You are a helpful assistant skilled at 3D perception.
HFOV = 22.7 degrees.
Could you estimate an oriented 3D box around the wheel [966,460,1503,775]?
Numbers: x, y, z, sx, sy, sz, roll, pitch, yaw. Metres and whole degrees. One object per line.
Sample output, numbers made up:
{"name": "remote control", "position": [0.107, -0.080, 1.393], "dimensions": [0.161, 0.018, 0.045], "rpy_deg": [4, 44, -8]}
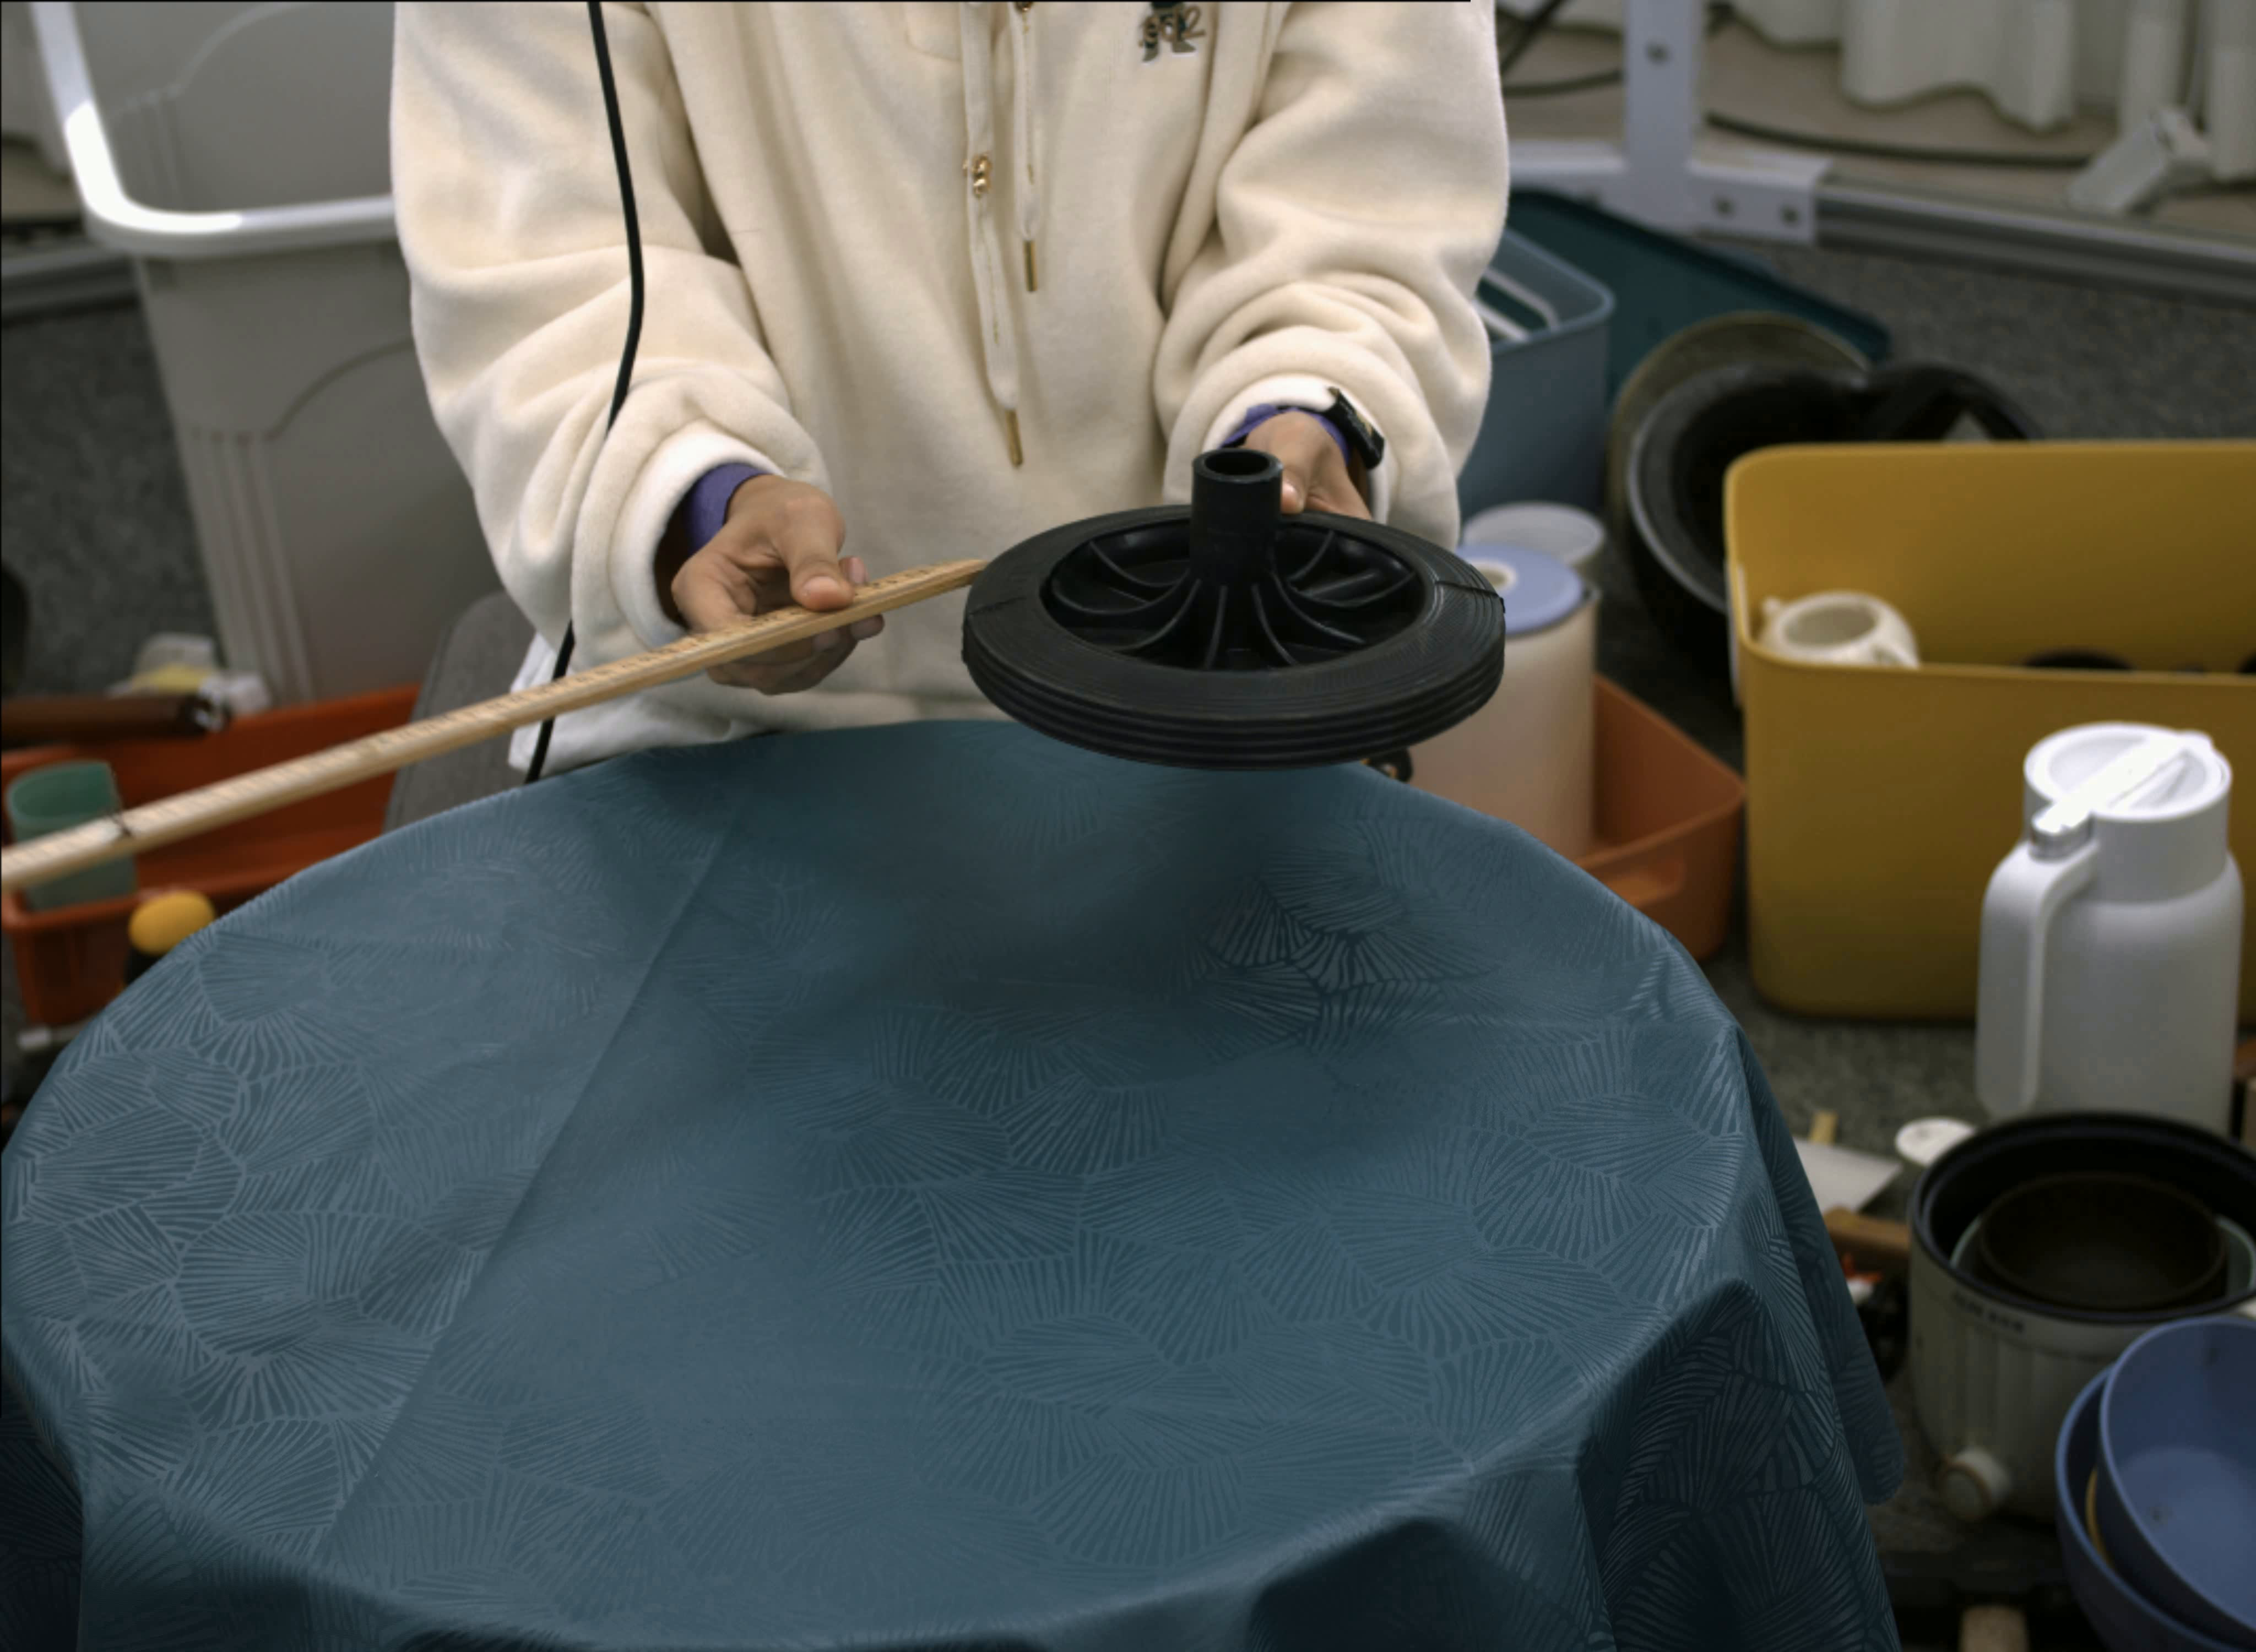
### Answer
{"name": "wheel", "position": [0.038, -0.084, 1.940], "dimensions": [0.186, 0.078, 0.192], "rpy_deg": [14, 27, 26]}

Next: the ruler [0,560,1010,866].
{"name": "ruler", "position": [-0.216, -0.034, 1.812], "dimensions": [0.026, 0.006, 0.505], "rpy_deg": [7, 18, 41]}
